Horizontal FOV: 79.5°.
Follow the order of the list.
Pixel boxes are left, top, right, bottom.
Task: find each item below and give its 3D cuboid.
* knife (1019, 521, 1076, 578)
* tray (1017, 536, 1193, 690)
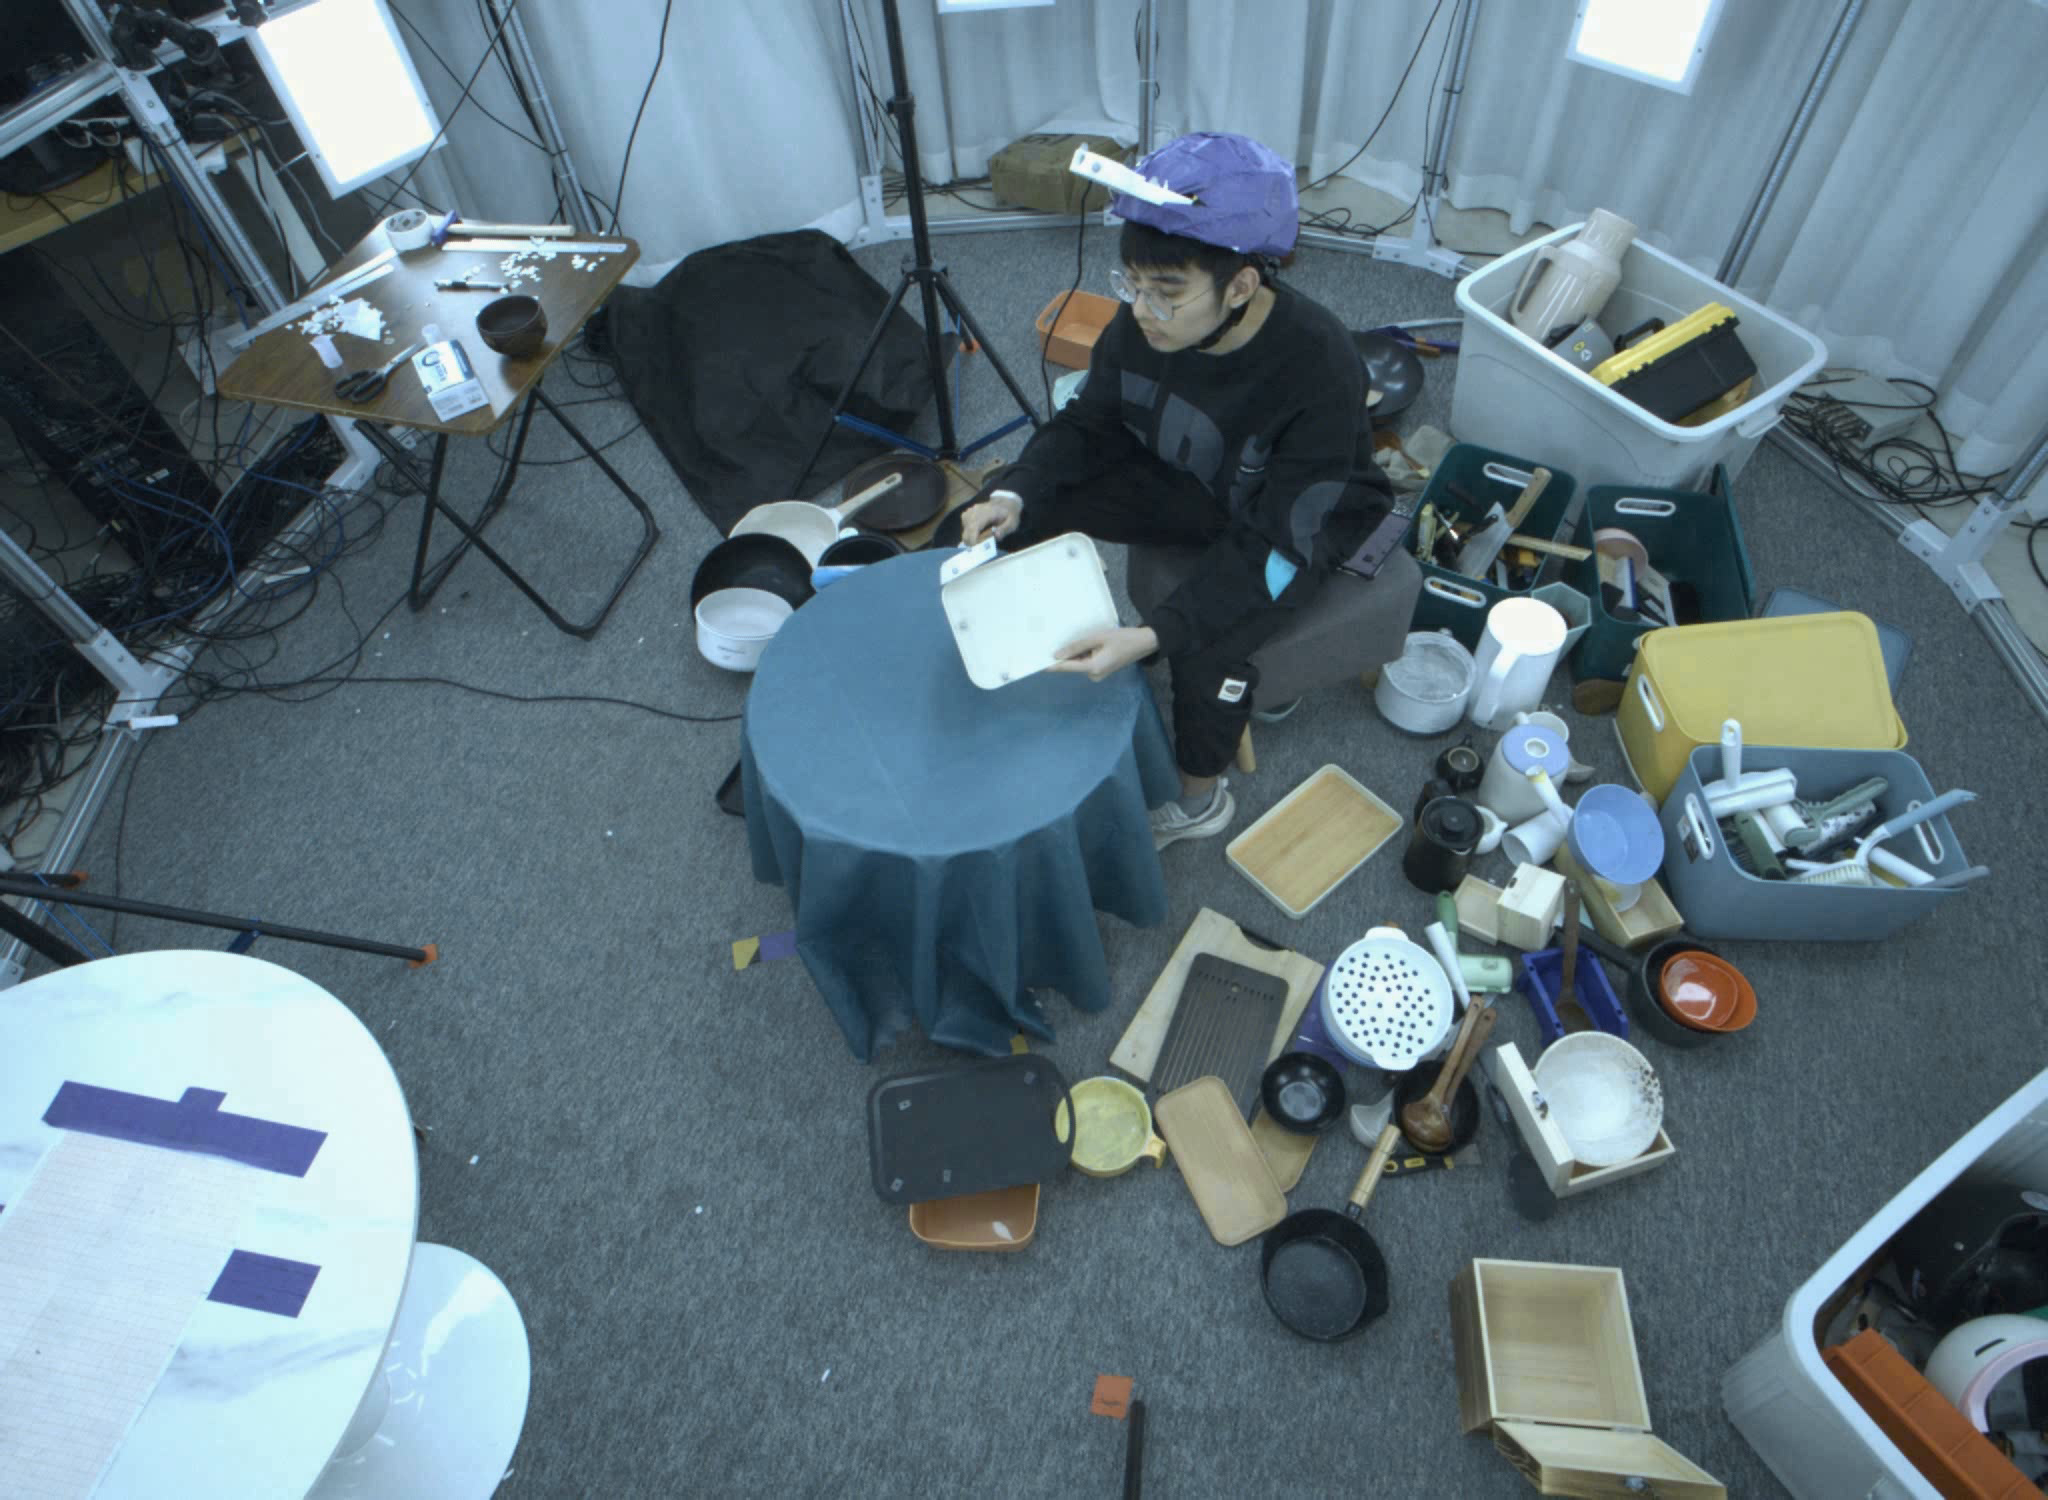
[{"bbox_3d":[0.033,-0.294,1.810,0.092,0.021,0.304,-26,16,9],"label":"knife"},{"bbox_3d":[0.115,-0.195,1.739,0.241,0.172,0.017,-19,14,-13],"label":"tray"}]
